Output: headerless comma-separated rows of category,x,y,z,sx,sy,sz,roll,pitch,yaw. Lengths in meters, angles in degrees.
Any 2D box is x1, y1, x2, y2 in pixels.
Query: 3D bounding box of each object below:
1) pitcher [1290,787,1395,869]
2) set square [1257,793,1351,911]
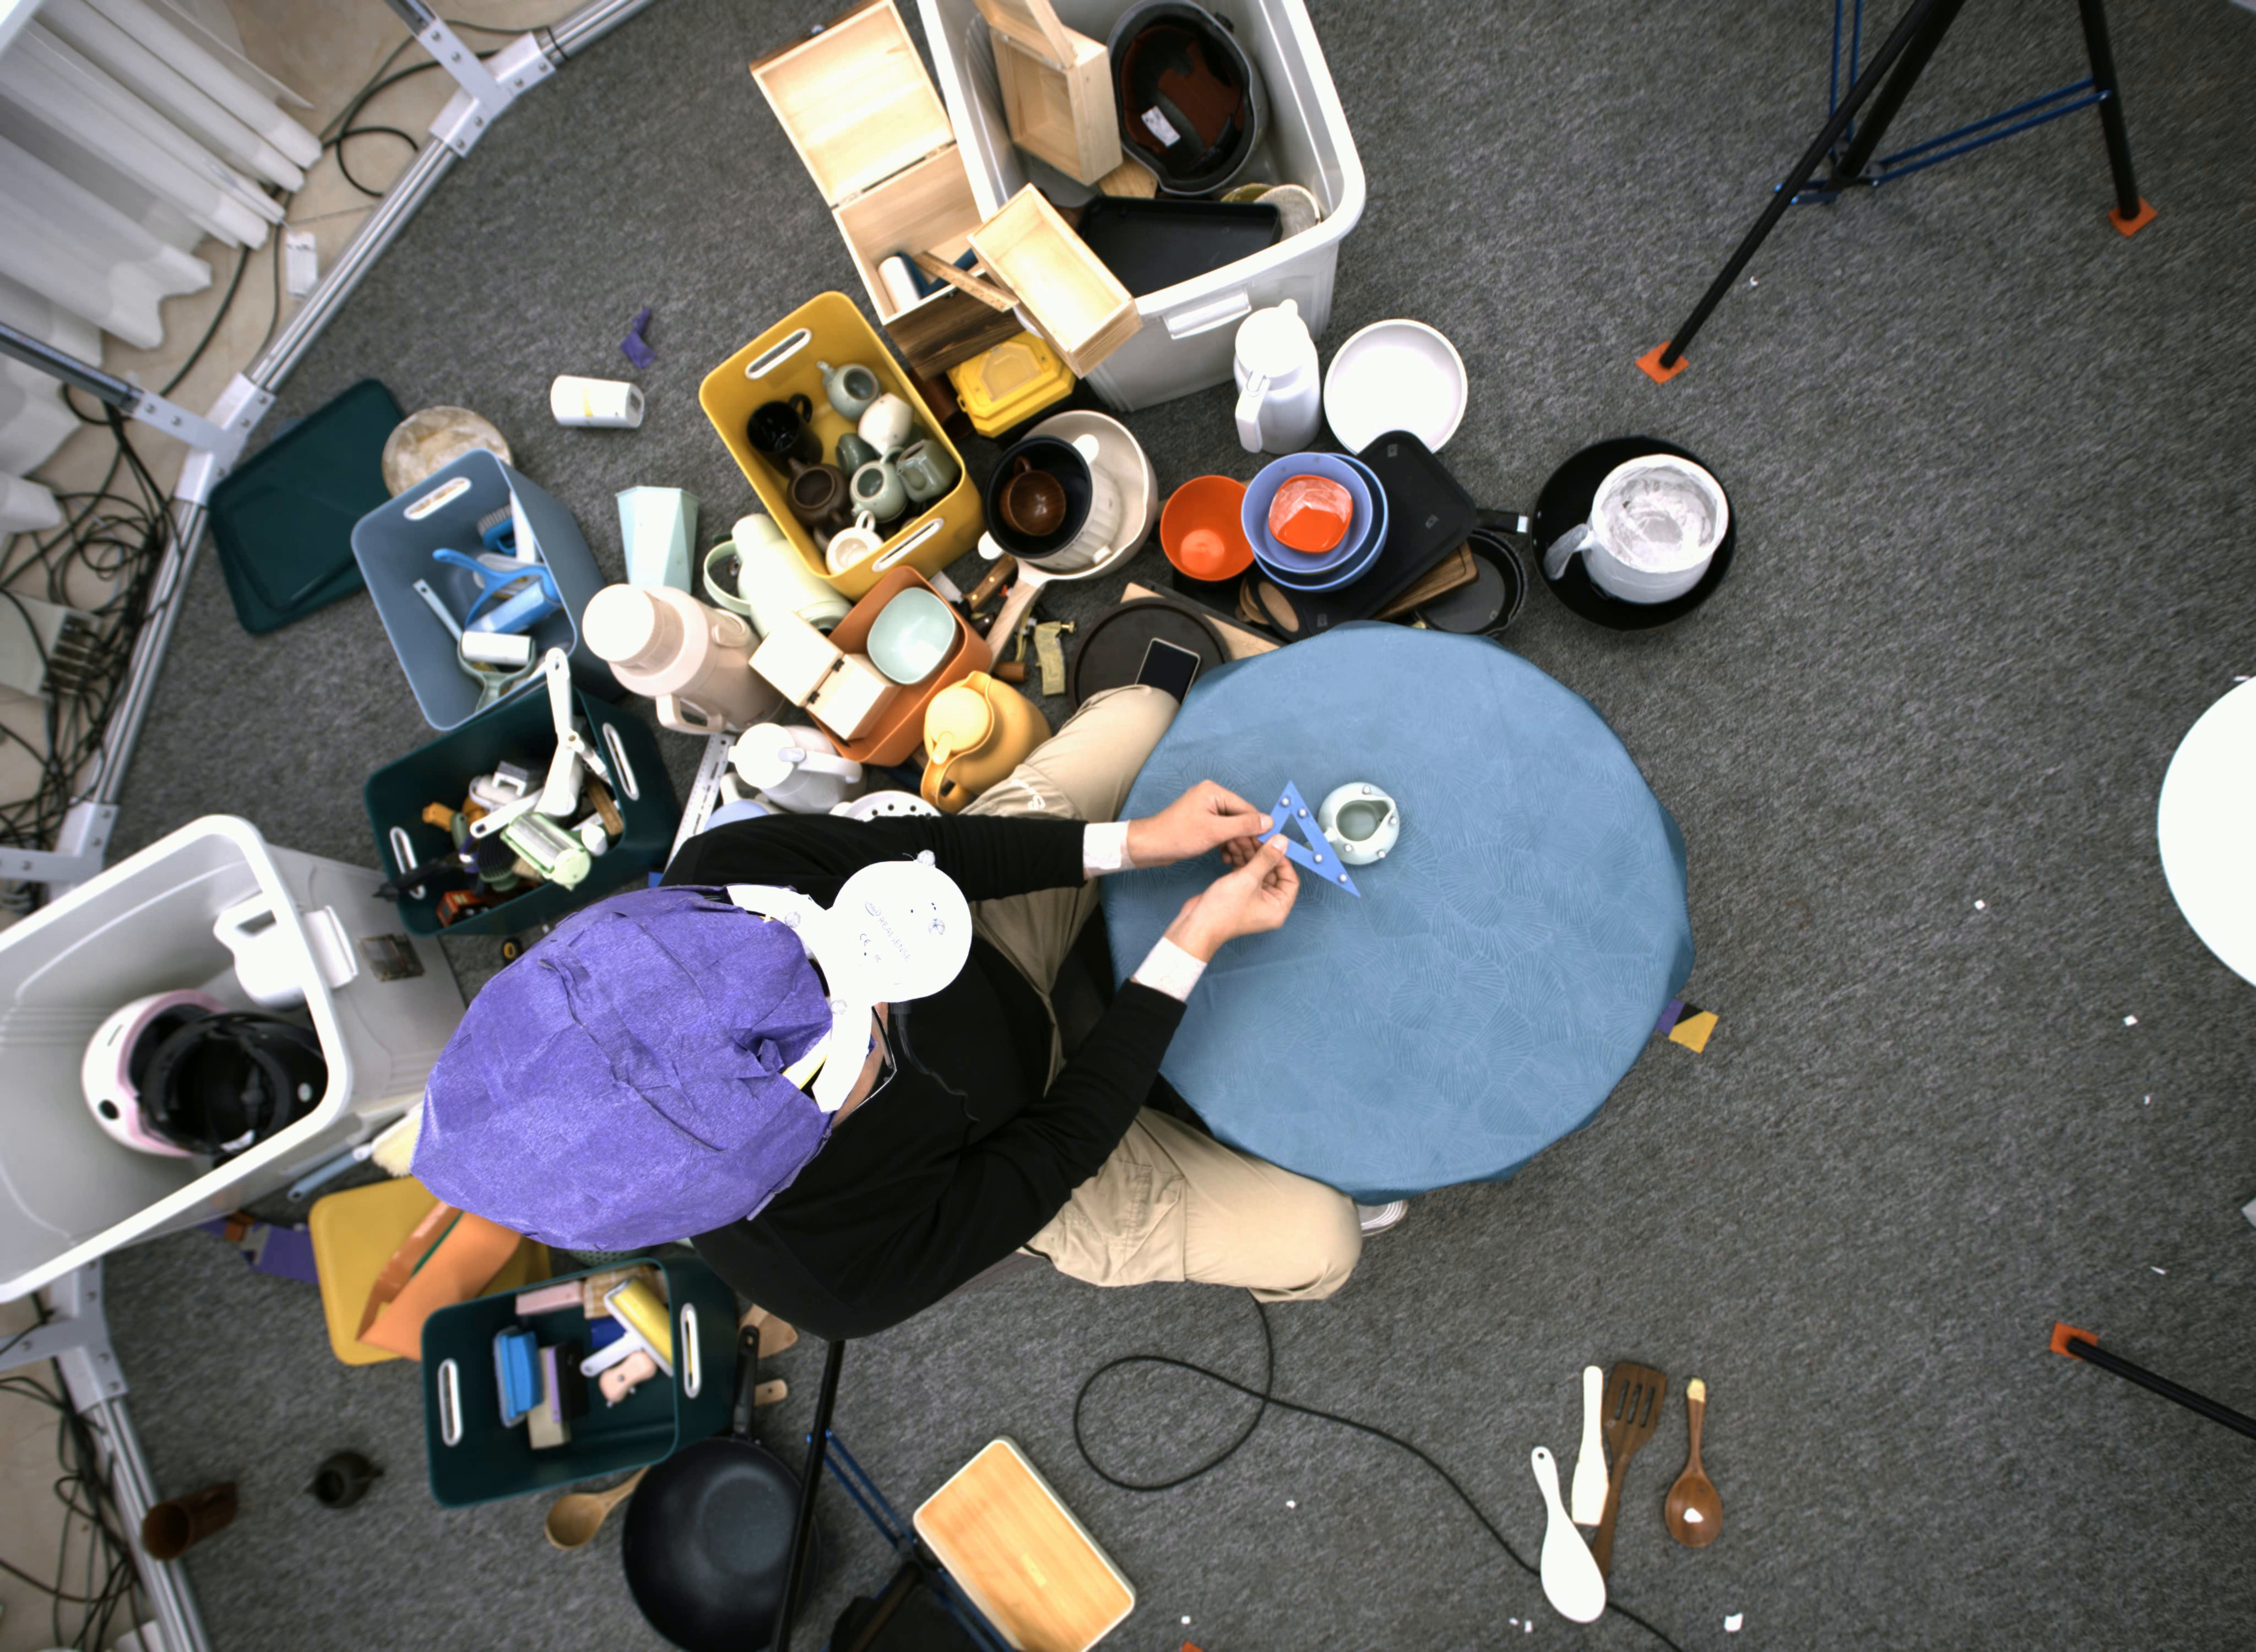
pitcher,0.219,0.003,1.439,0.108,0.060,0.086,-12,94,-8
set square,0.174,0.035,1.402,0.061,0.006,0.131,-27,85,-3
